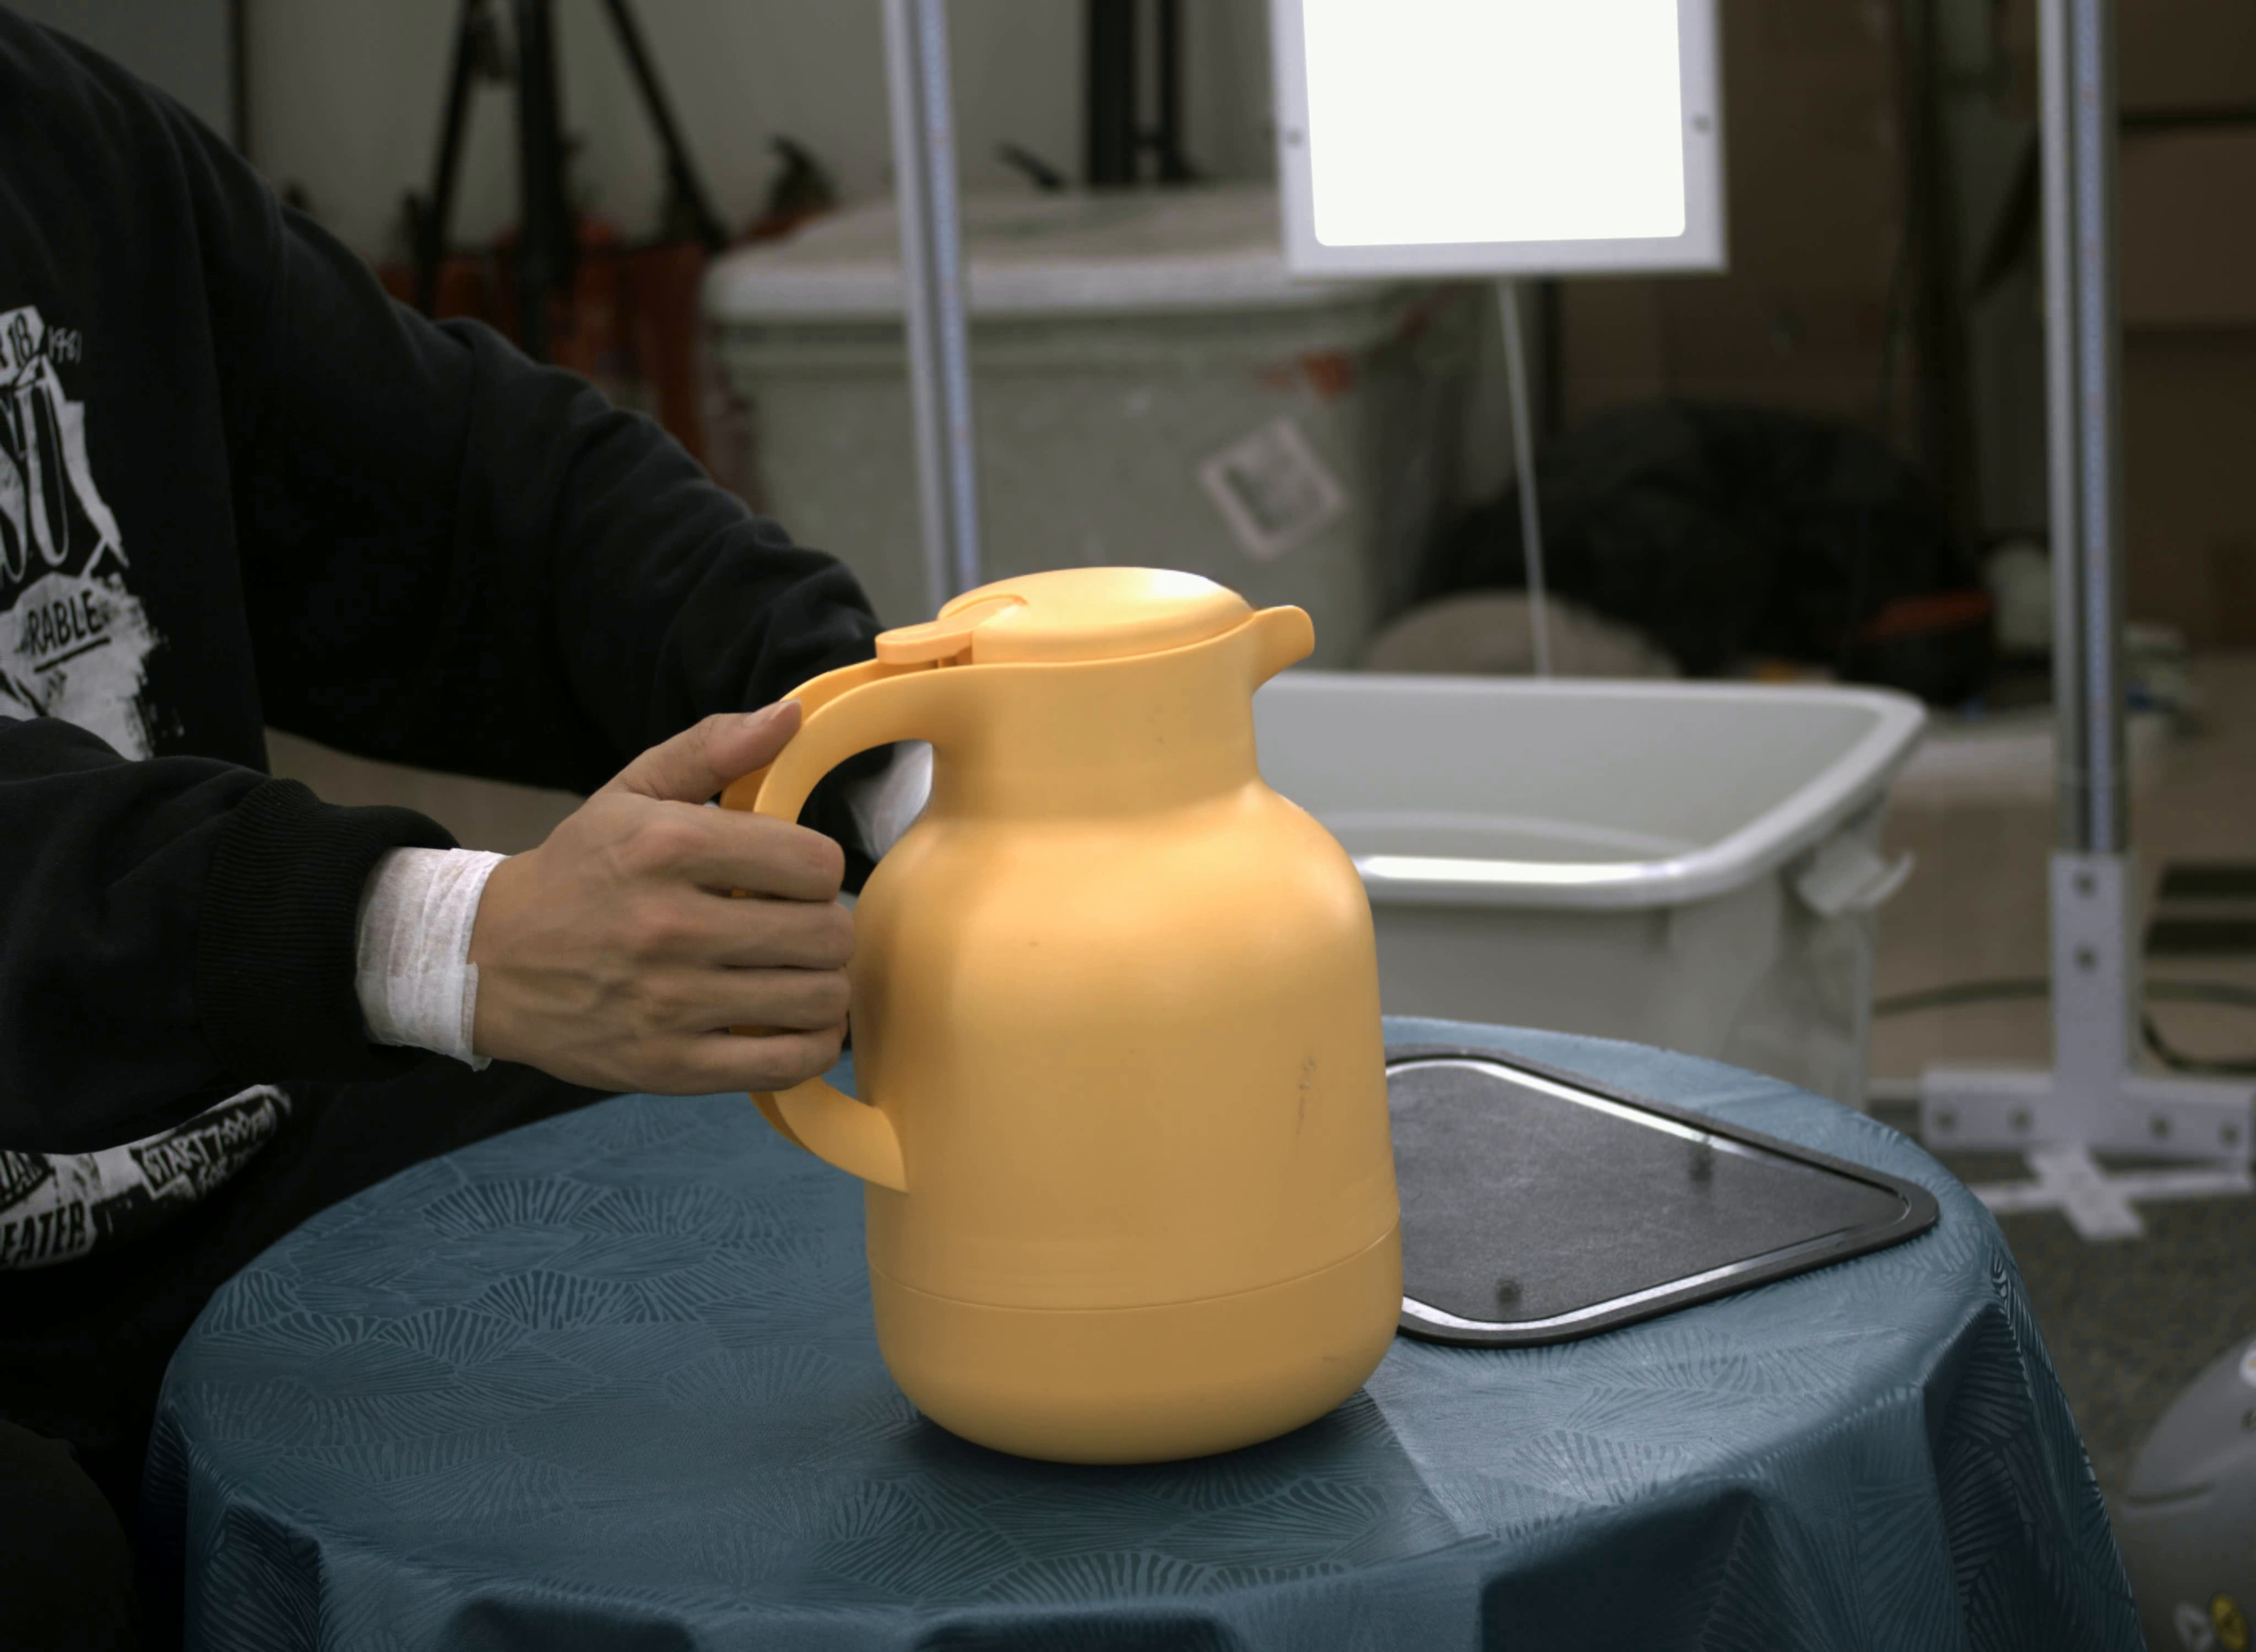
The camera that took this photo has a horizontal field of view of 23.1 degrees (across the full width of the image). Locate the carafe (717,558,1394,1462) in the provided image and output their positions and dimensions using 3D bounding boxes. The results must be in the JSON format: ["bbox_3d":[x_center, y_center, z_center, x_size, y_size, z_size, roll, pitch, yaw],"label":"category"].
[{"bbox_3d":[-0.023,0.054,1.651,0.198,0.261,0.166,-8,11,-22],"label":"carafe"}]

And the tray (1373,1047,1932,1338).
[{"bbox_3d":[0.108,0.119,1.877,0.206,0.010,0.331,-13,16,-30],"label":"tray"}]
